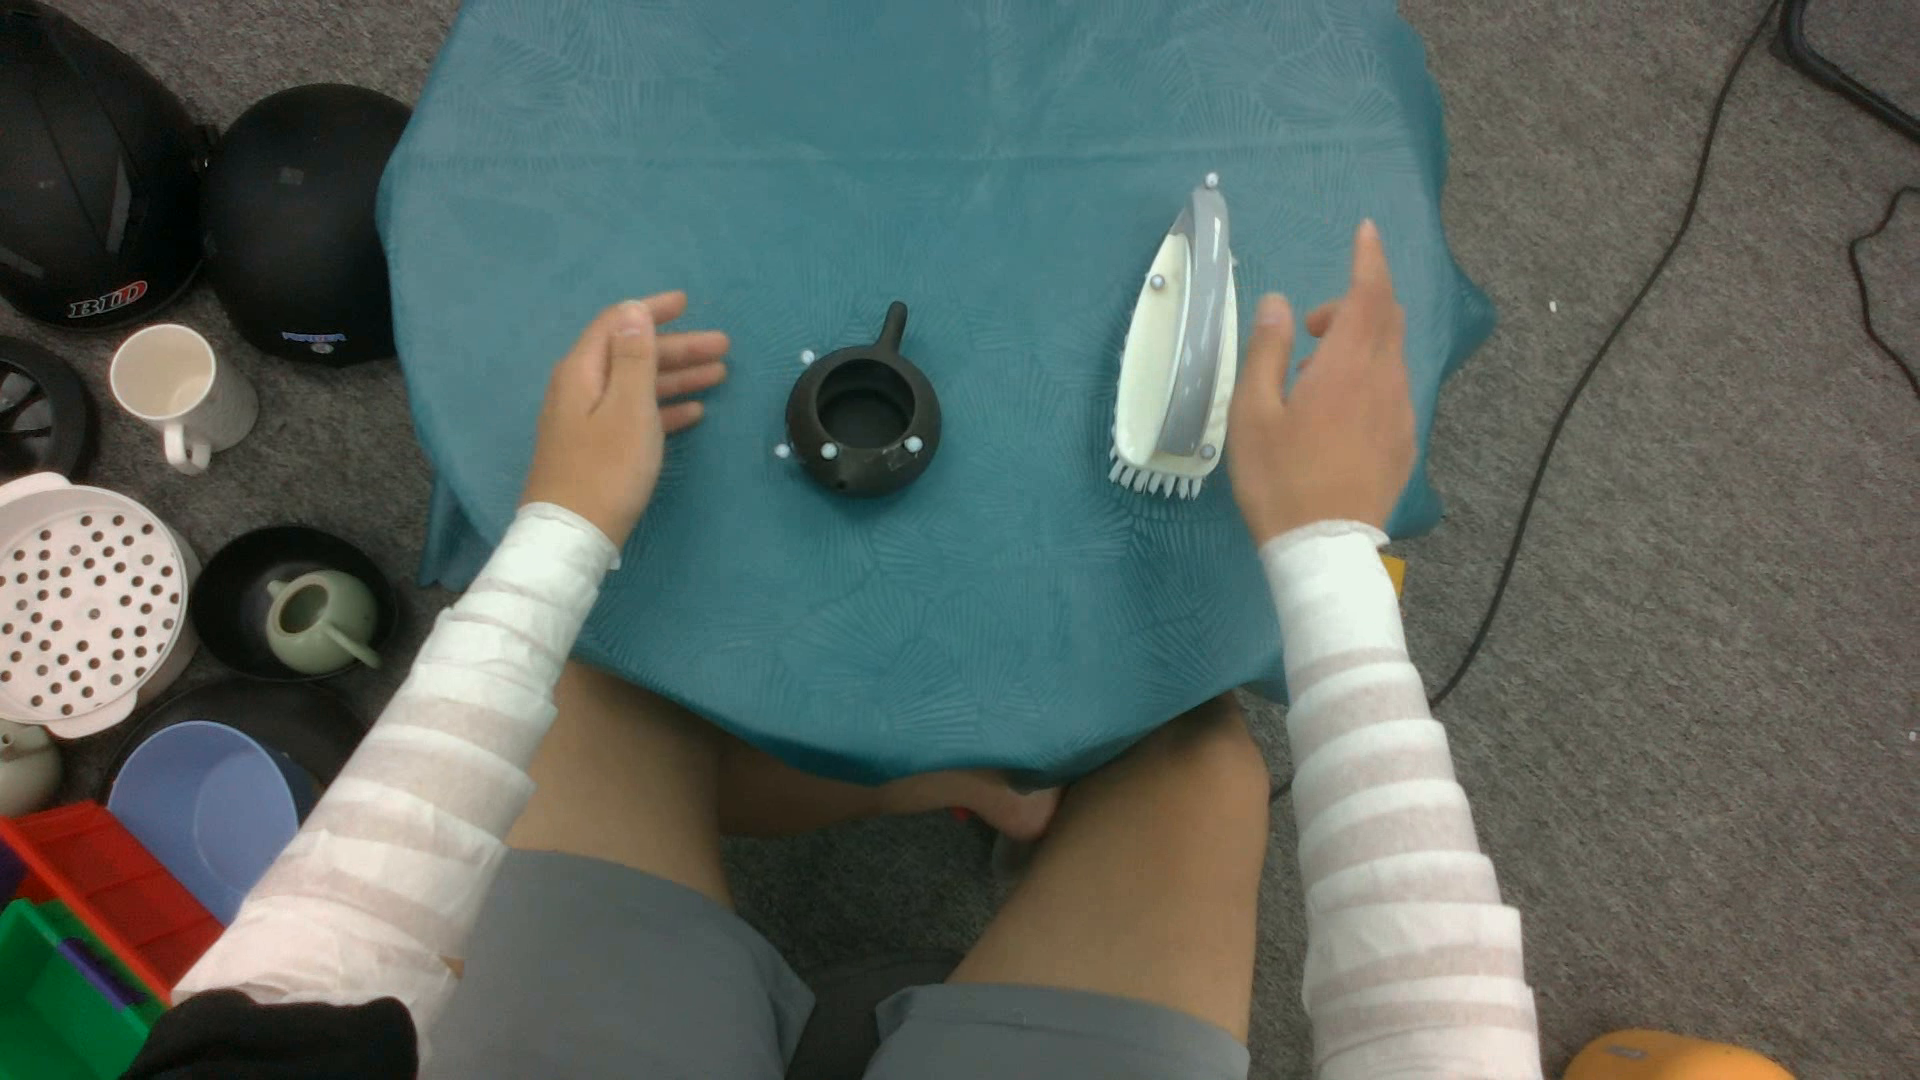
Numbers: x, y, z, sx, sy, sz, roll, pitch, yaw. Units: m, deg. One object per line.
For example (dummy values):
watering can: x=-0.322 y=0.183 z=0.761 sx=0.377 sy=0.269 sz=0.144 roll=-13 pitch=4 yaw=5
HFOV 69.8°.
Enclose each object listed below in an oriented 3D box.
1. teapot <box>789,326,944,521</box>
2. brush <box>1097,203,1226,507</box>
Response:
teapot: x=-0.047 y=-0.063 z=0.740 sx=0.083 sy=0.053 sz=0.114 roll=15 pitch=75 yaw=-1
brush: x=0.118 y=-0.113 z=0.749 sx=0.061 sy=0.094 sz=0.176 roll=11 pitch=72 yaw=-5
